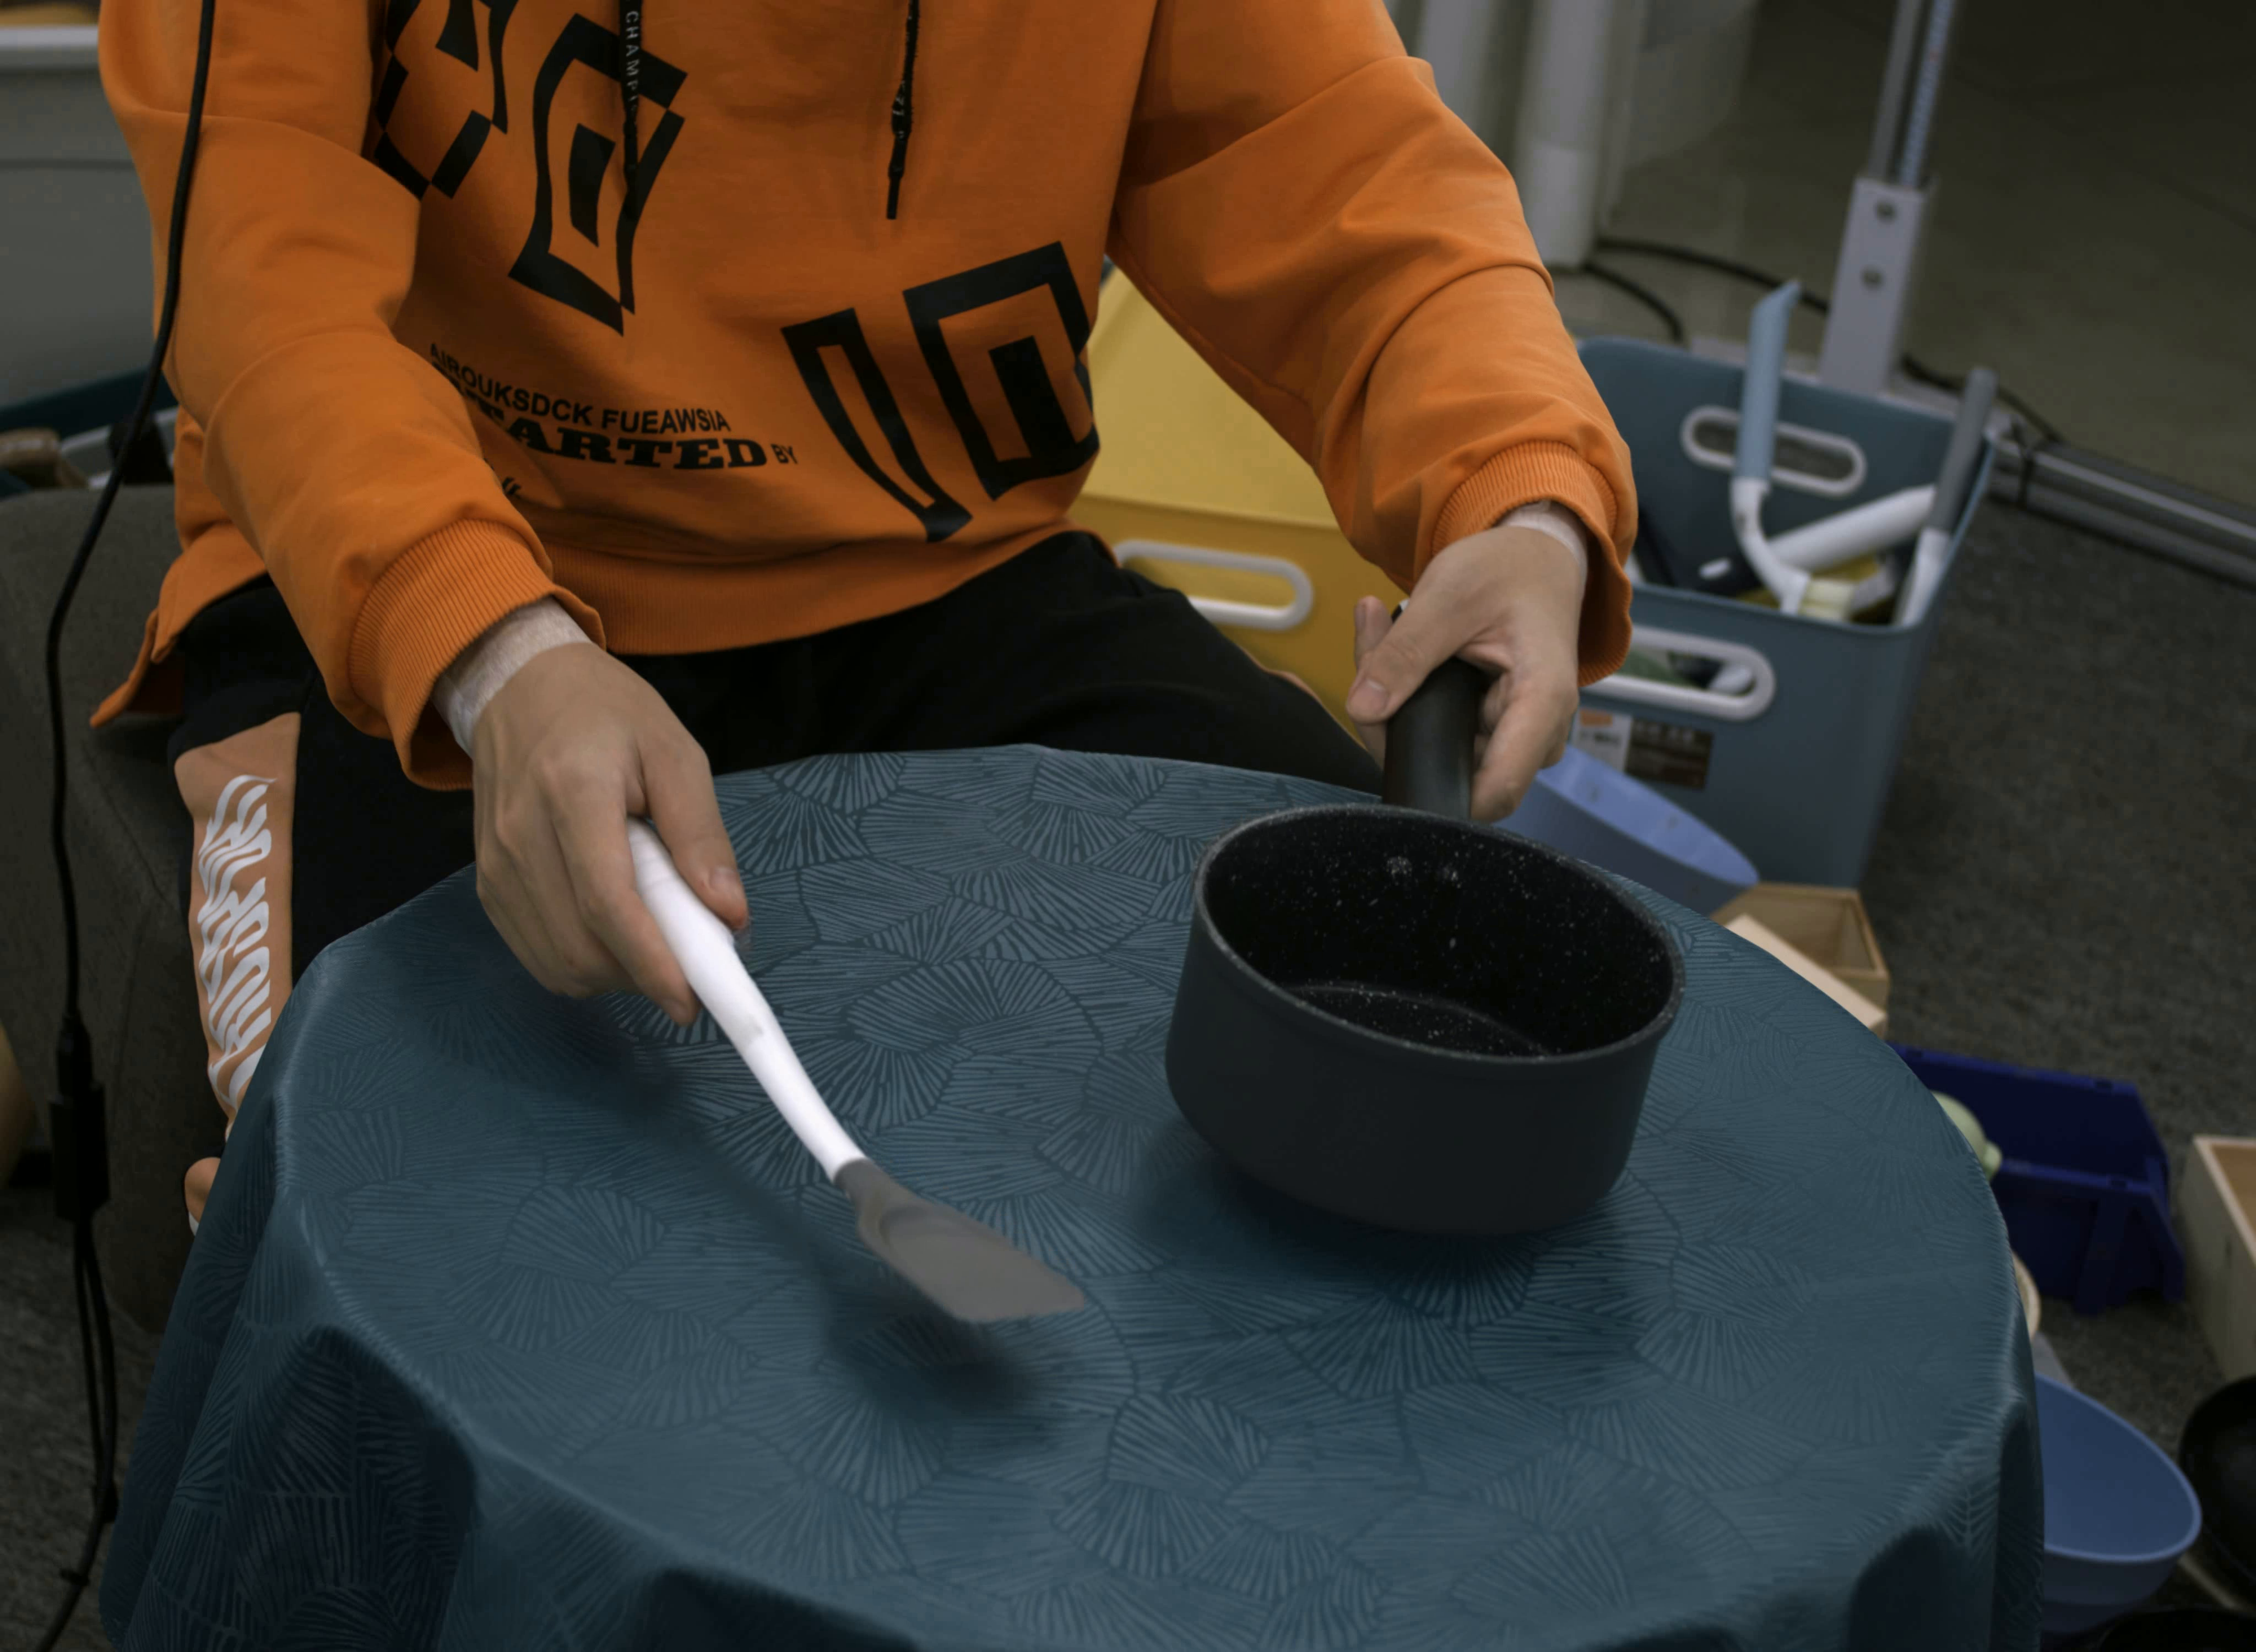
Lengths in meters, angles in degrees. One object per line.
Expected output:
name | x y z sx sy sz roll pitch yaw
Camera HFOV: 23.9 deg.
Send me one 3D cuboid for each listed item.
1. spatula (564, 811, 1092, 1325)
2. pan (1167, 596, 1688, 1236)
spatula | -0.107 0.084 1.756 0.058 0.032 0.290 2 30 -39
pan | 0.105 0.026 1.877 0.171 0.086 0.330 13 29 -1
